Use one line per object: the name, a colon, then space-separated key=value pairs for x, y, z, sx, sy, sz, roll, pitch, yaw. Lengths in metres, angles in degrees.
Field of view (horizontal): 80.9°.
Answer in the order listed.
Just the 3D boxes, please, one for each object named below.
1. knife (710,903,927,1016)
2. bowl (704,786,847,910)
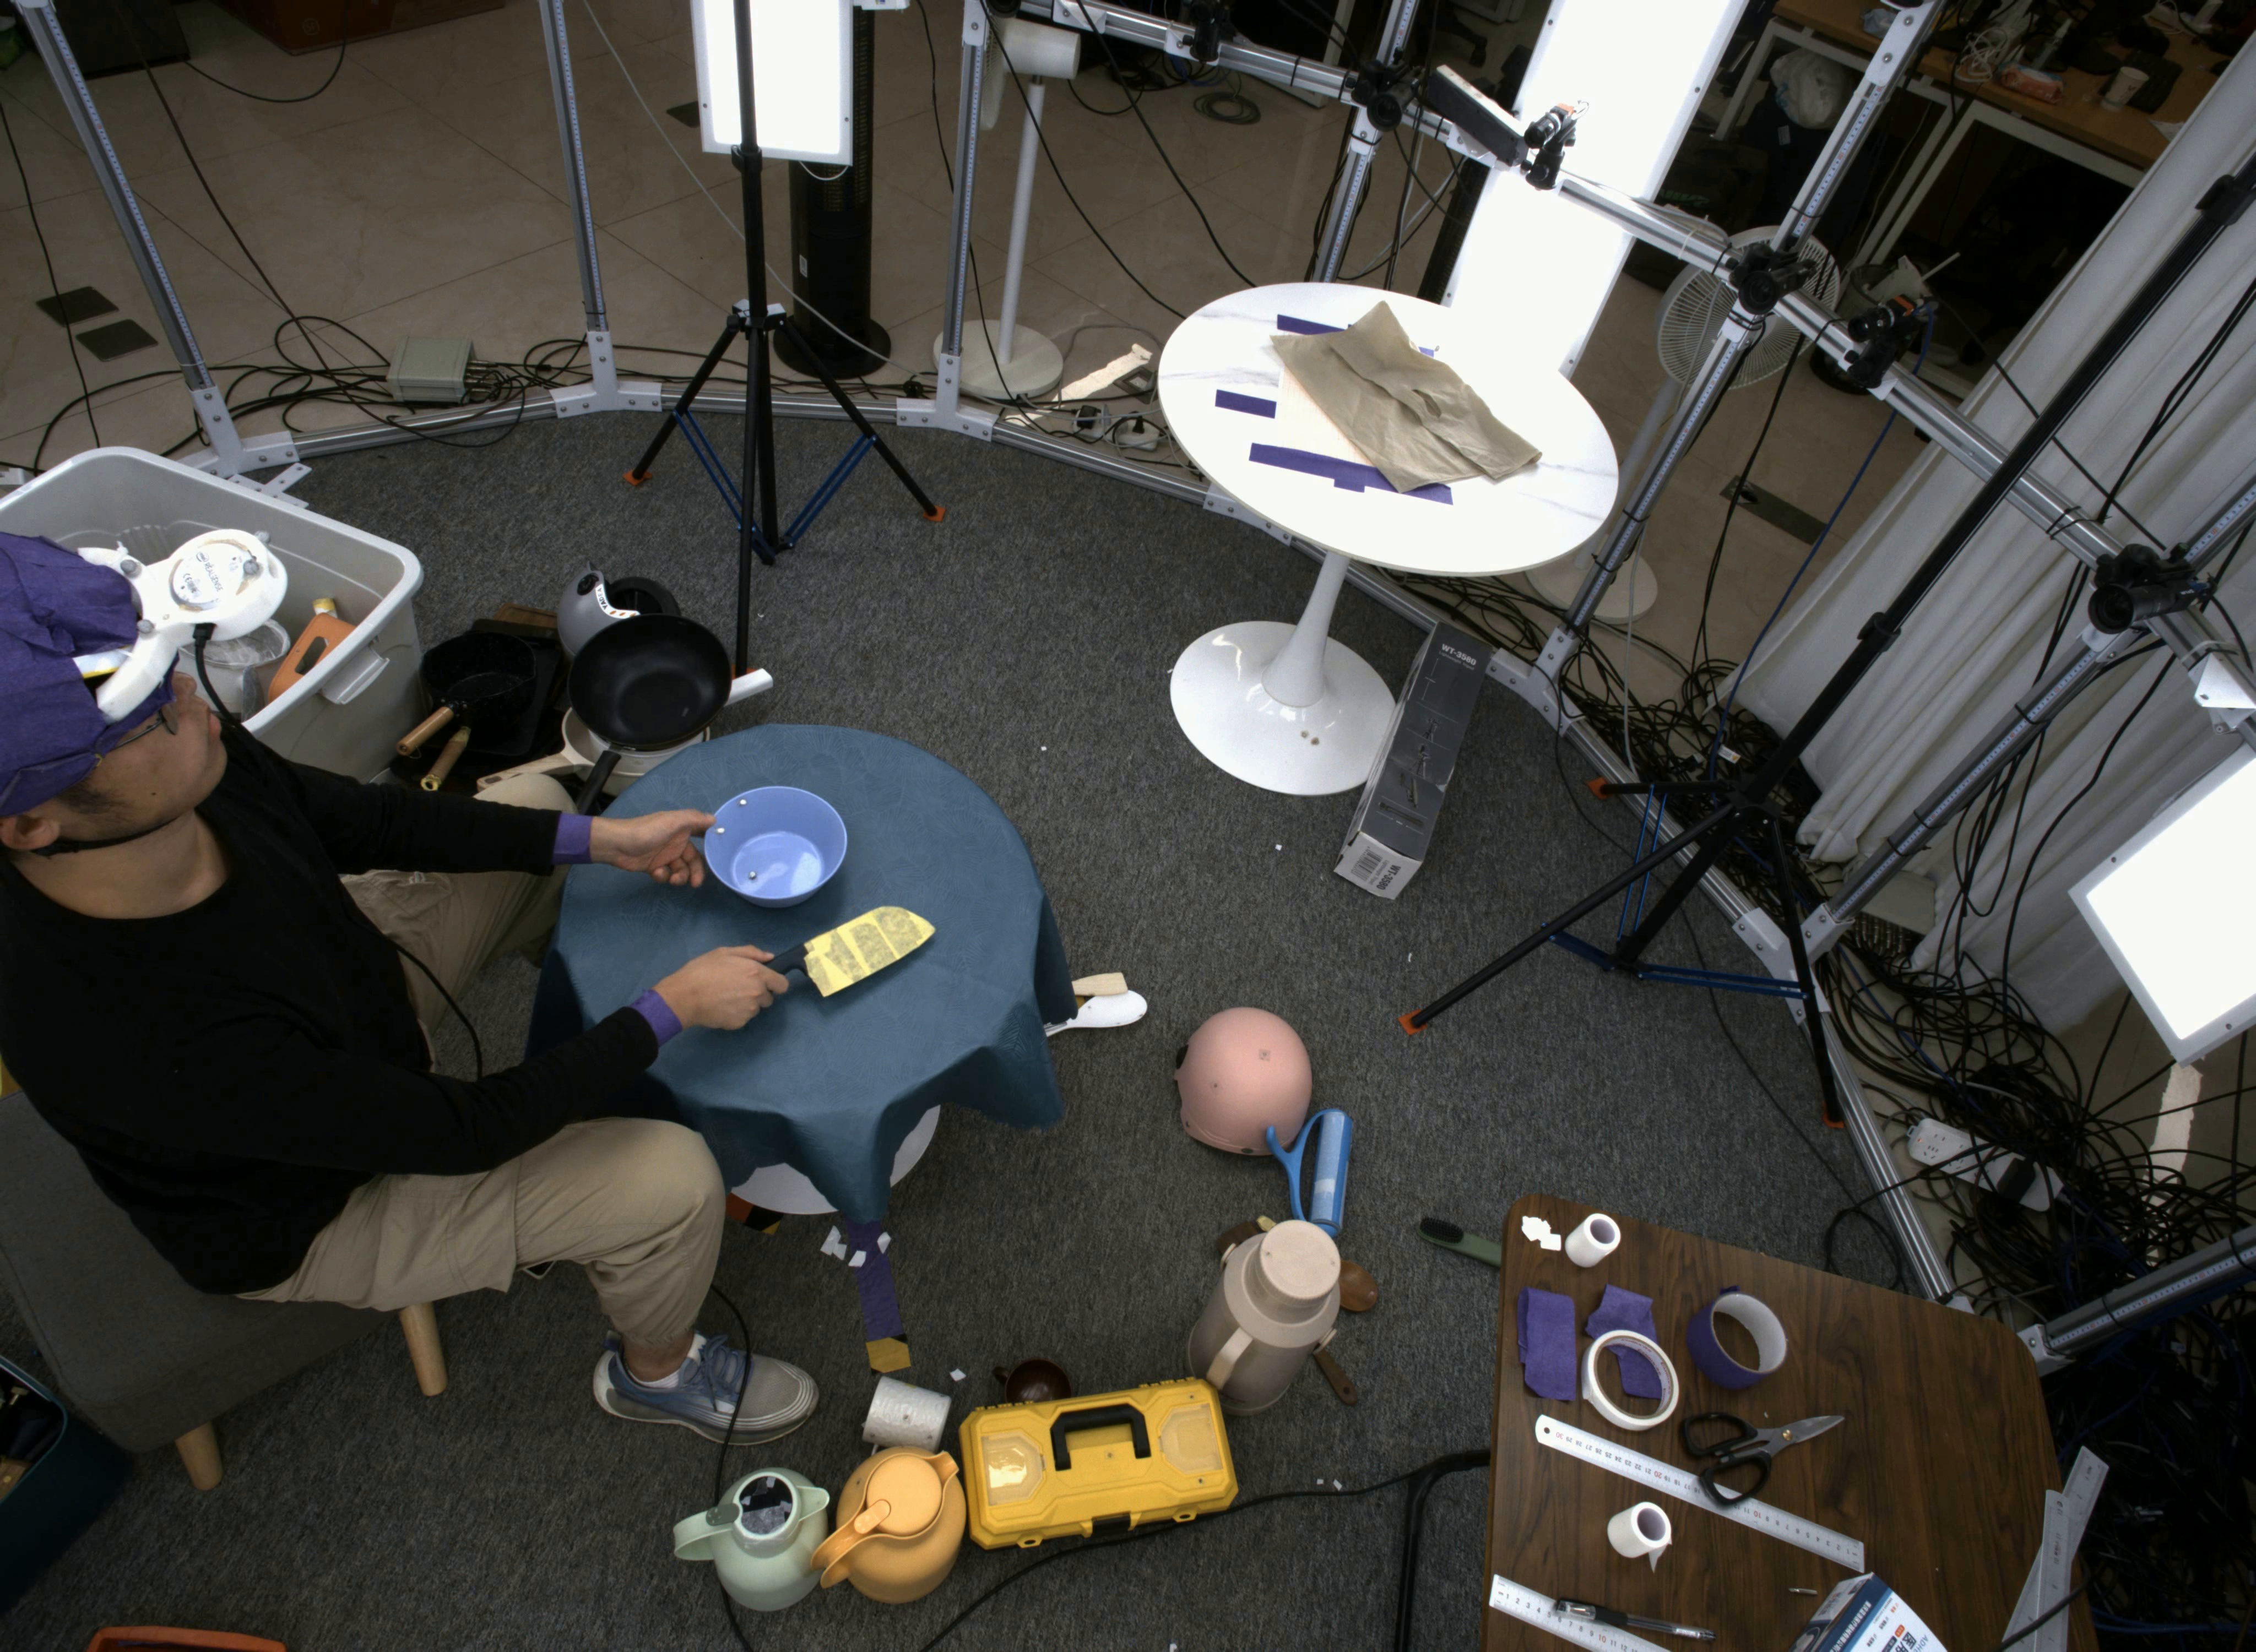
knife: x=-0.366 y=0.165 z=1.570 sx=0.291 sy=0.027 sz=0.080 roll=-25 pitch=75 yaw=-33
bowl: x=-0.445 y=0.038 z=1.643 sx=0.176 sy=0.071 sz=0.173 roll=8 pitch=53 yaw=-9
